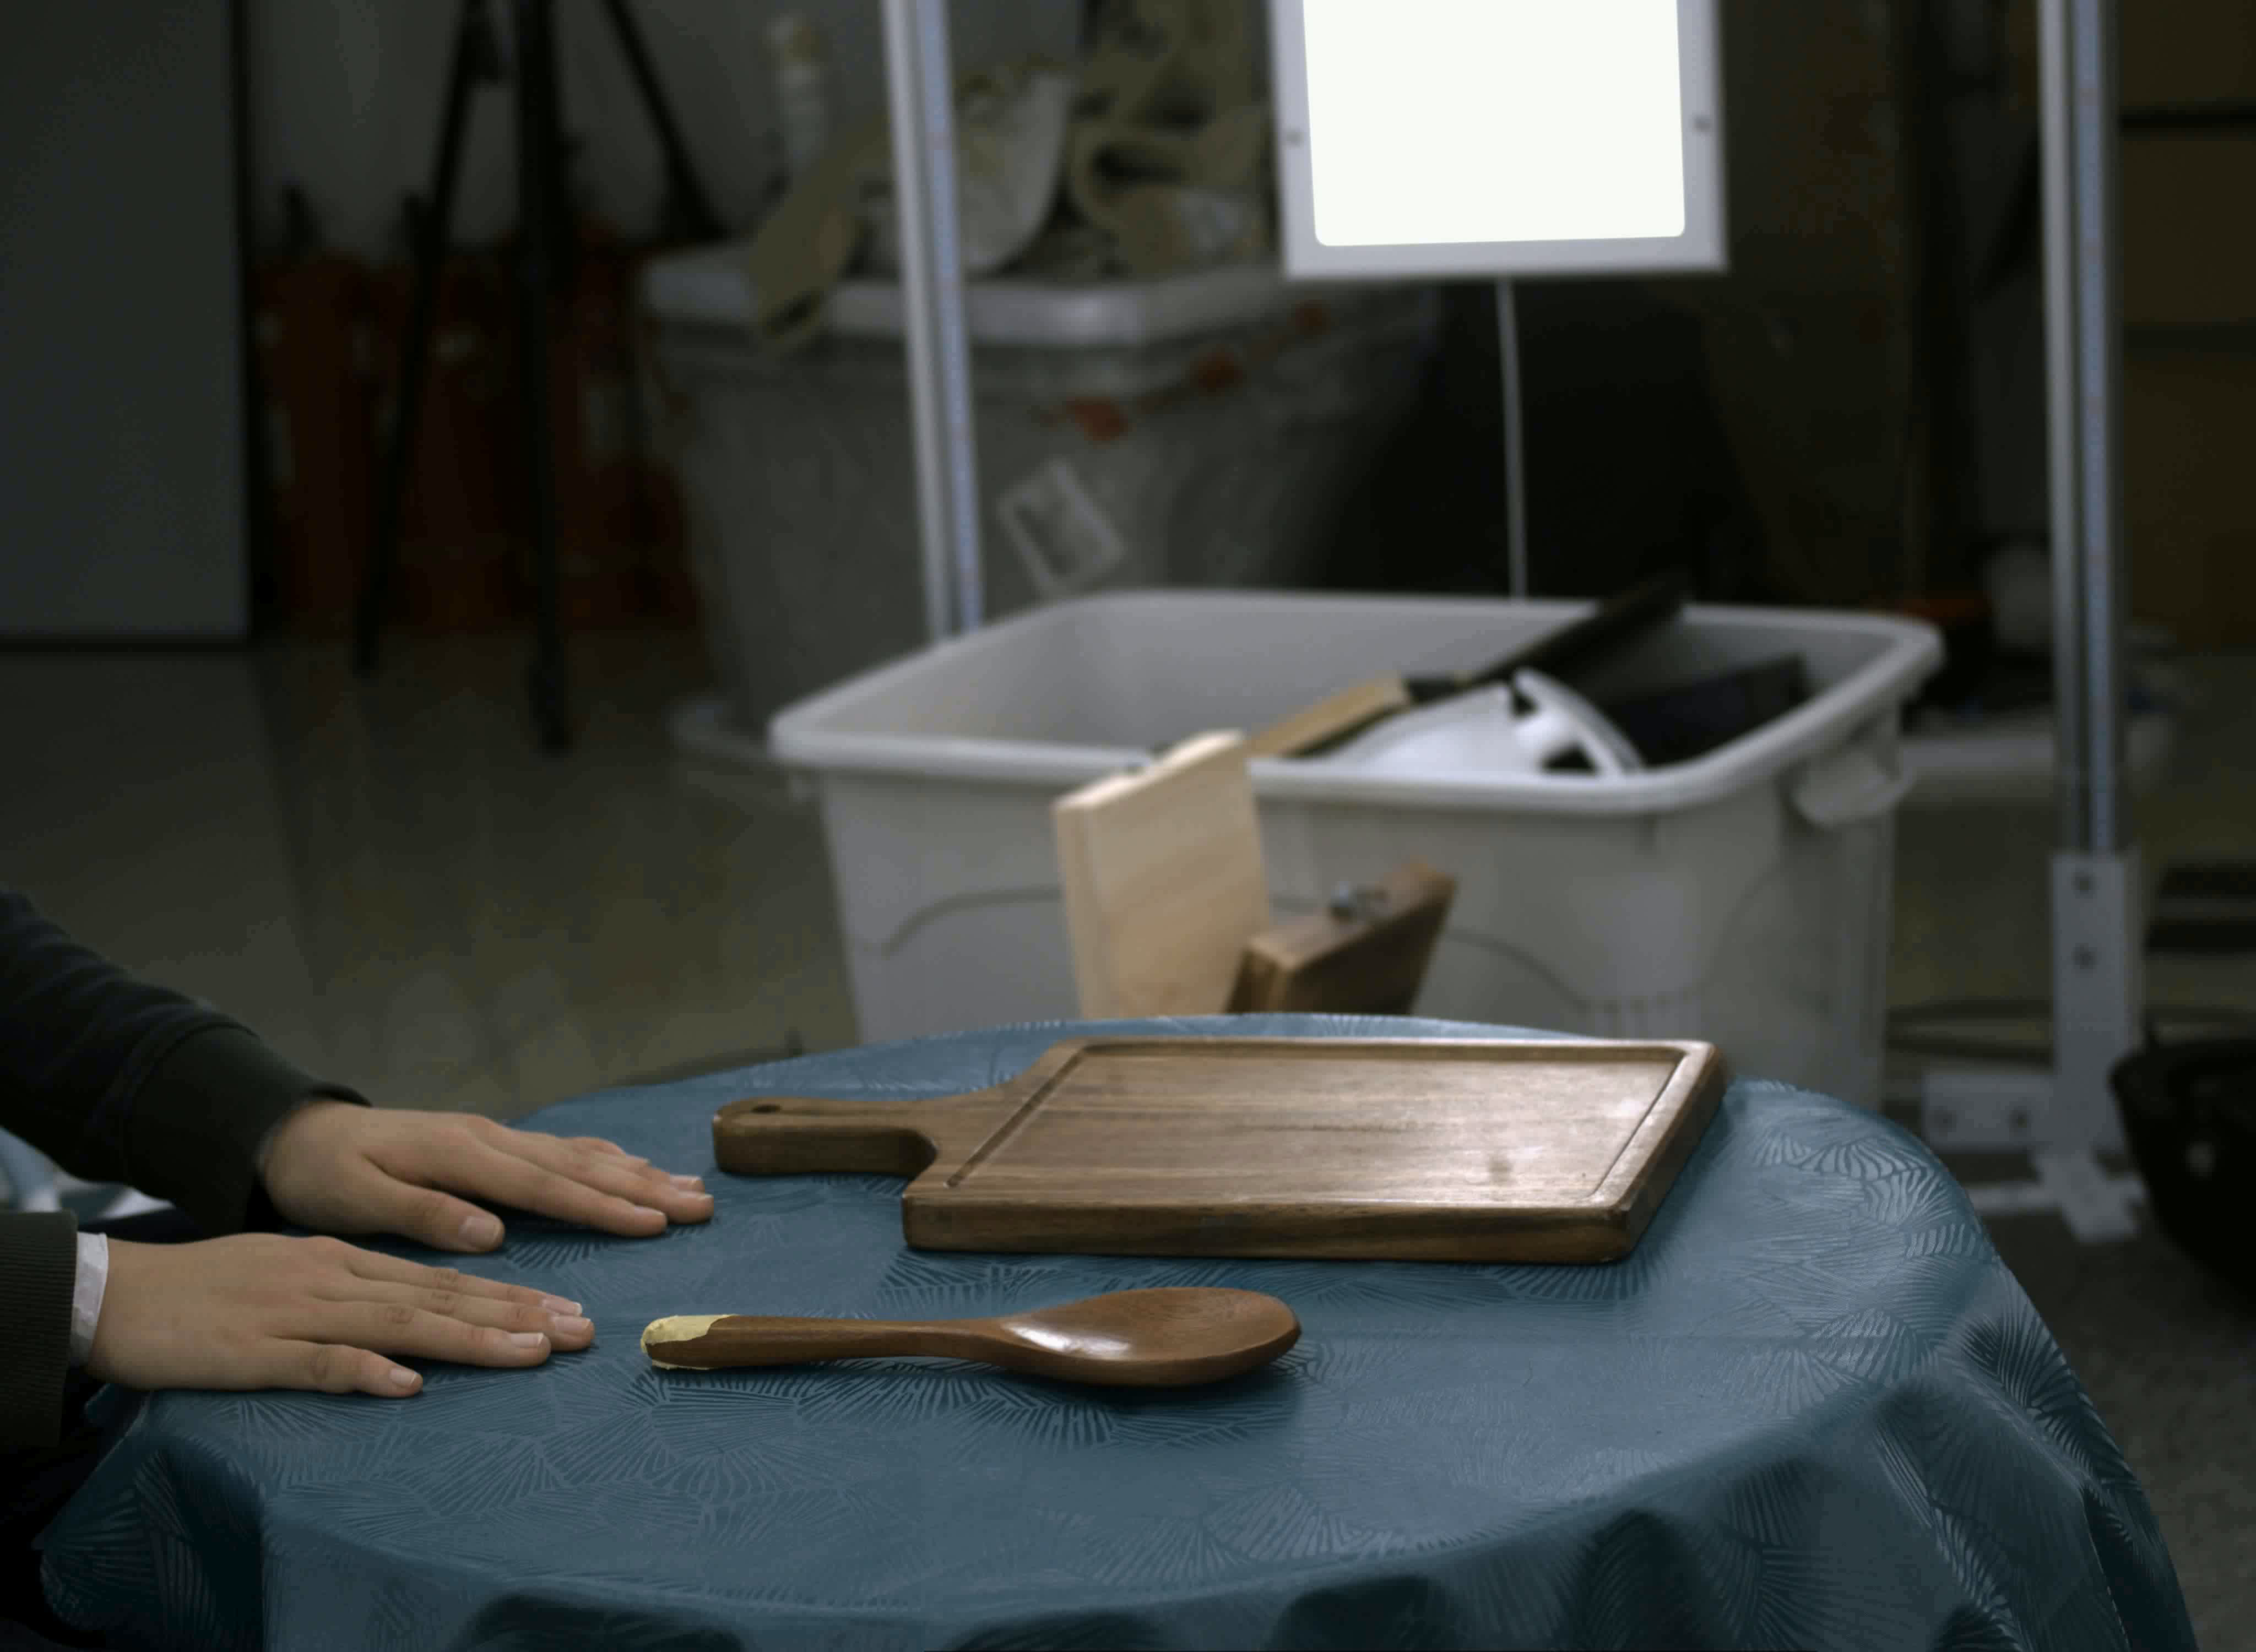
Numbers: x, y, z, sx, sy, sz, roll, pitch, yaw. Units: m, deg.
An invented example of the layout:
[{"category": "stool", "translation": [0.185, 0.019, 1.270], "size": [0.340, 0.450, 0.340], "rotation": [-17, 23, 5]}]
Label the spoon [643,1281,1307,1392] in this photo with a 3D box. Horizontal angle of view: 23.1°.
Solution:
[{"category": "spoon", "translation": [-0.049, 0.161, 1.735], "size": [0.218, 0.017, 0.074], "rotation": [0, 16, 16]}]

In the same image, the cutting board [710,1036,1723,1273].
[{"category": "cutting board", "translation": [0.021, 0.111, 1.917], "size": [0.356, 0.023, 0.198], "rotation": [-1, 15, 19]}]
